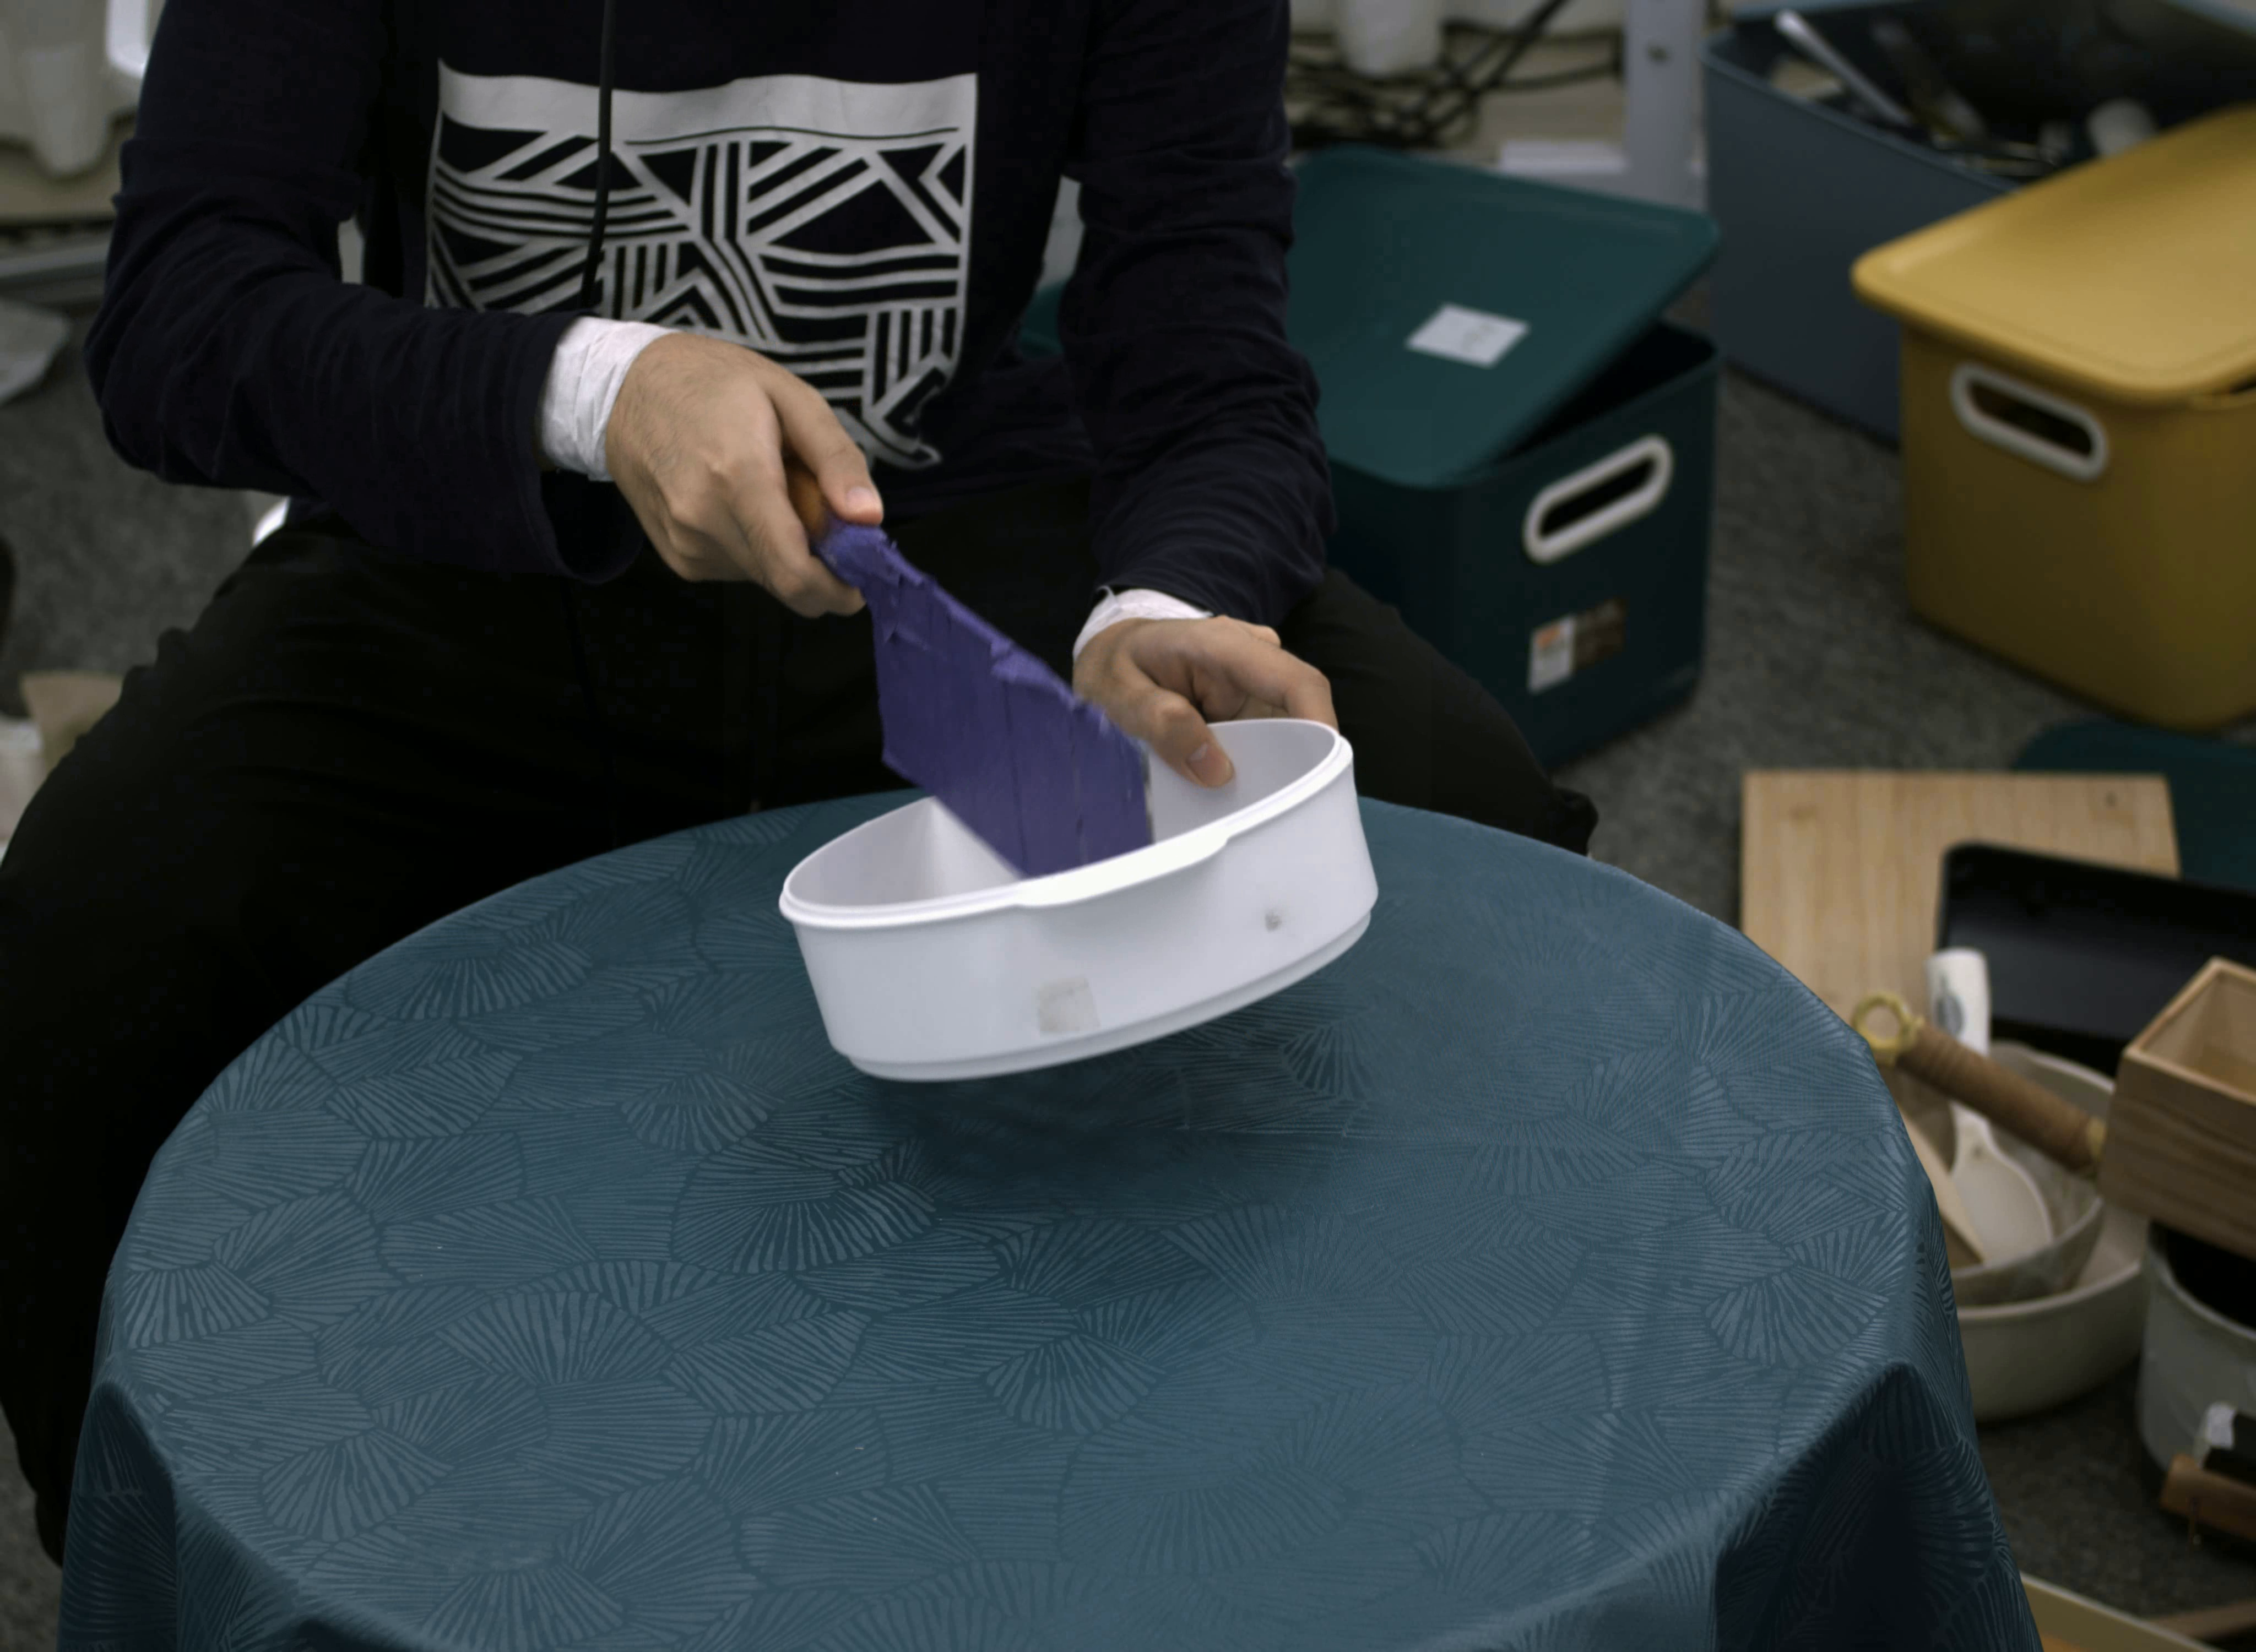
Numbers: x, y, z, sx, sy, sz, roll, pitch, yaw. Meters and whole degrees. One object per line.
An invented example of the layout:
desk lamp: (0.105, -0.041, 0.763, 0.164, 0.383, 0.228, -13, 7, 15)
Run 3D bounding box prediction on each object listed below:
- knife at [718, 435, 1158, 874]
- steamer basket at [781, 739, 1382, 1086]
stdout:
knife: (-0.067, -0.047, 1.940, 0.032, 0.103, 0.317, -14, 27, -22)
steamer basket: (-0.013, 0.030, 1.896, 0.202, 0.069, 0.230, -16, 9, -9)
